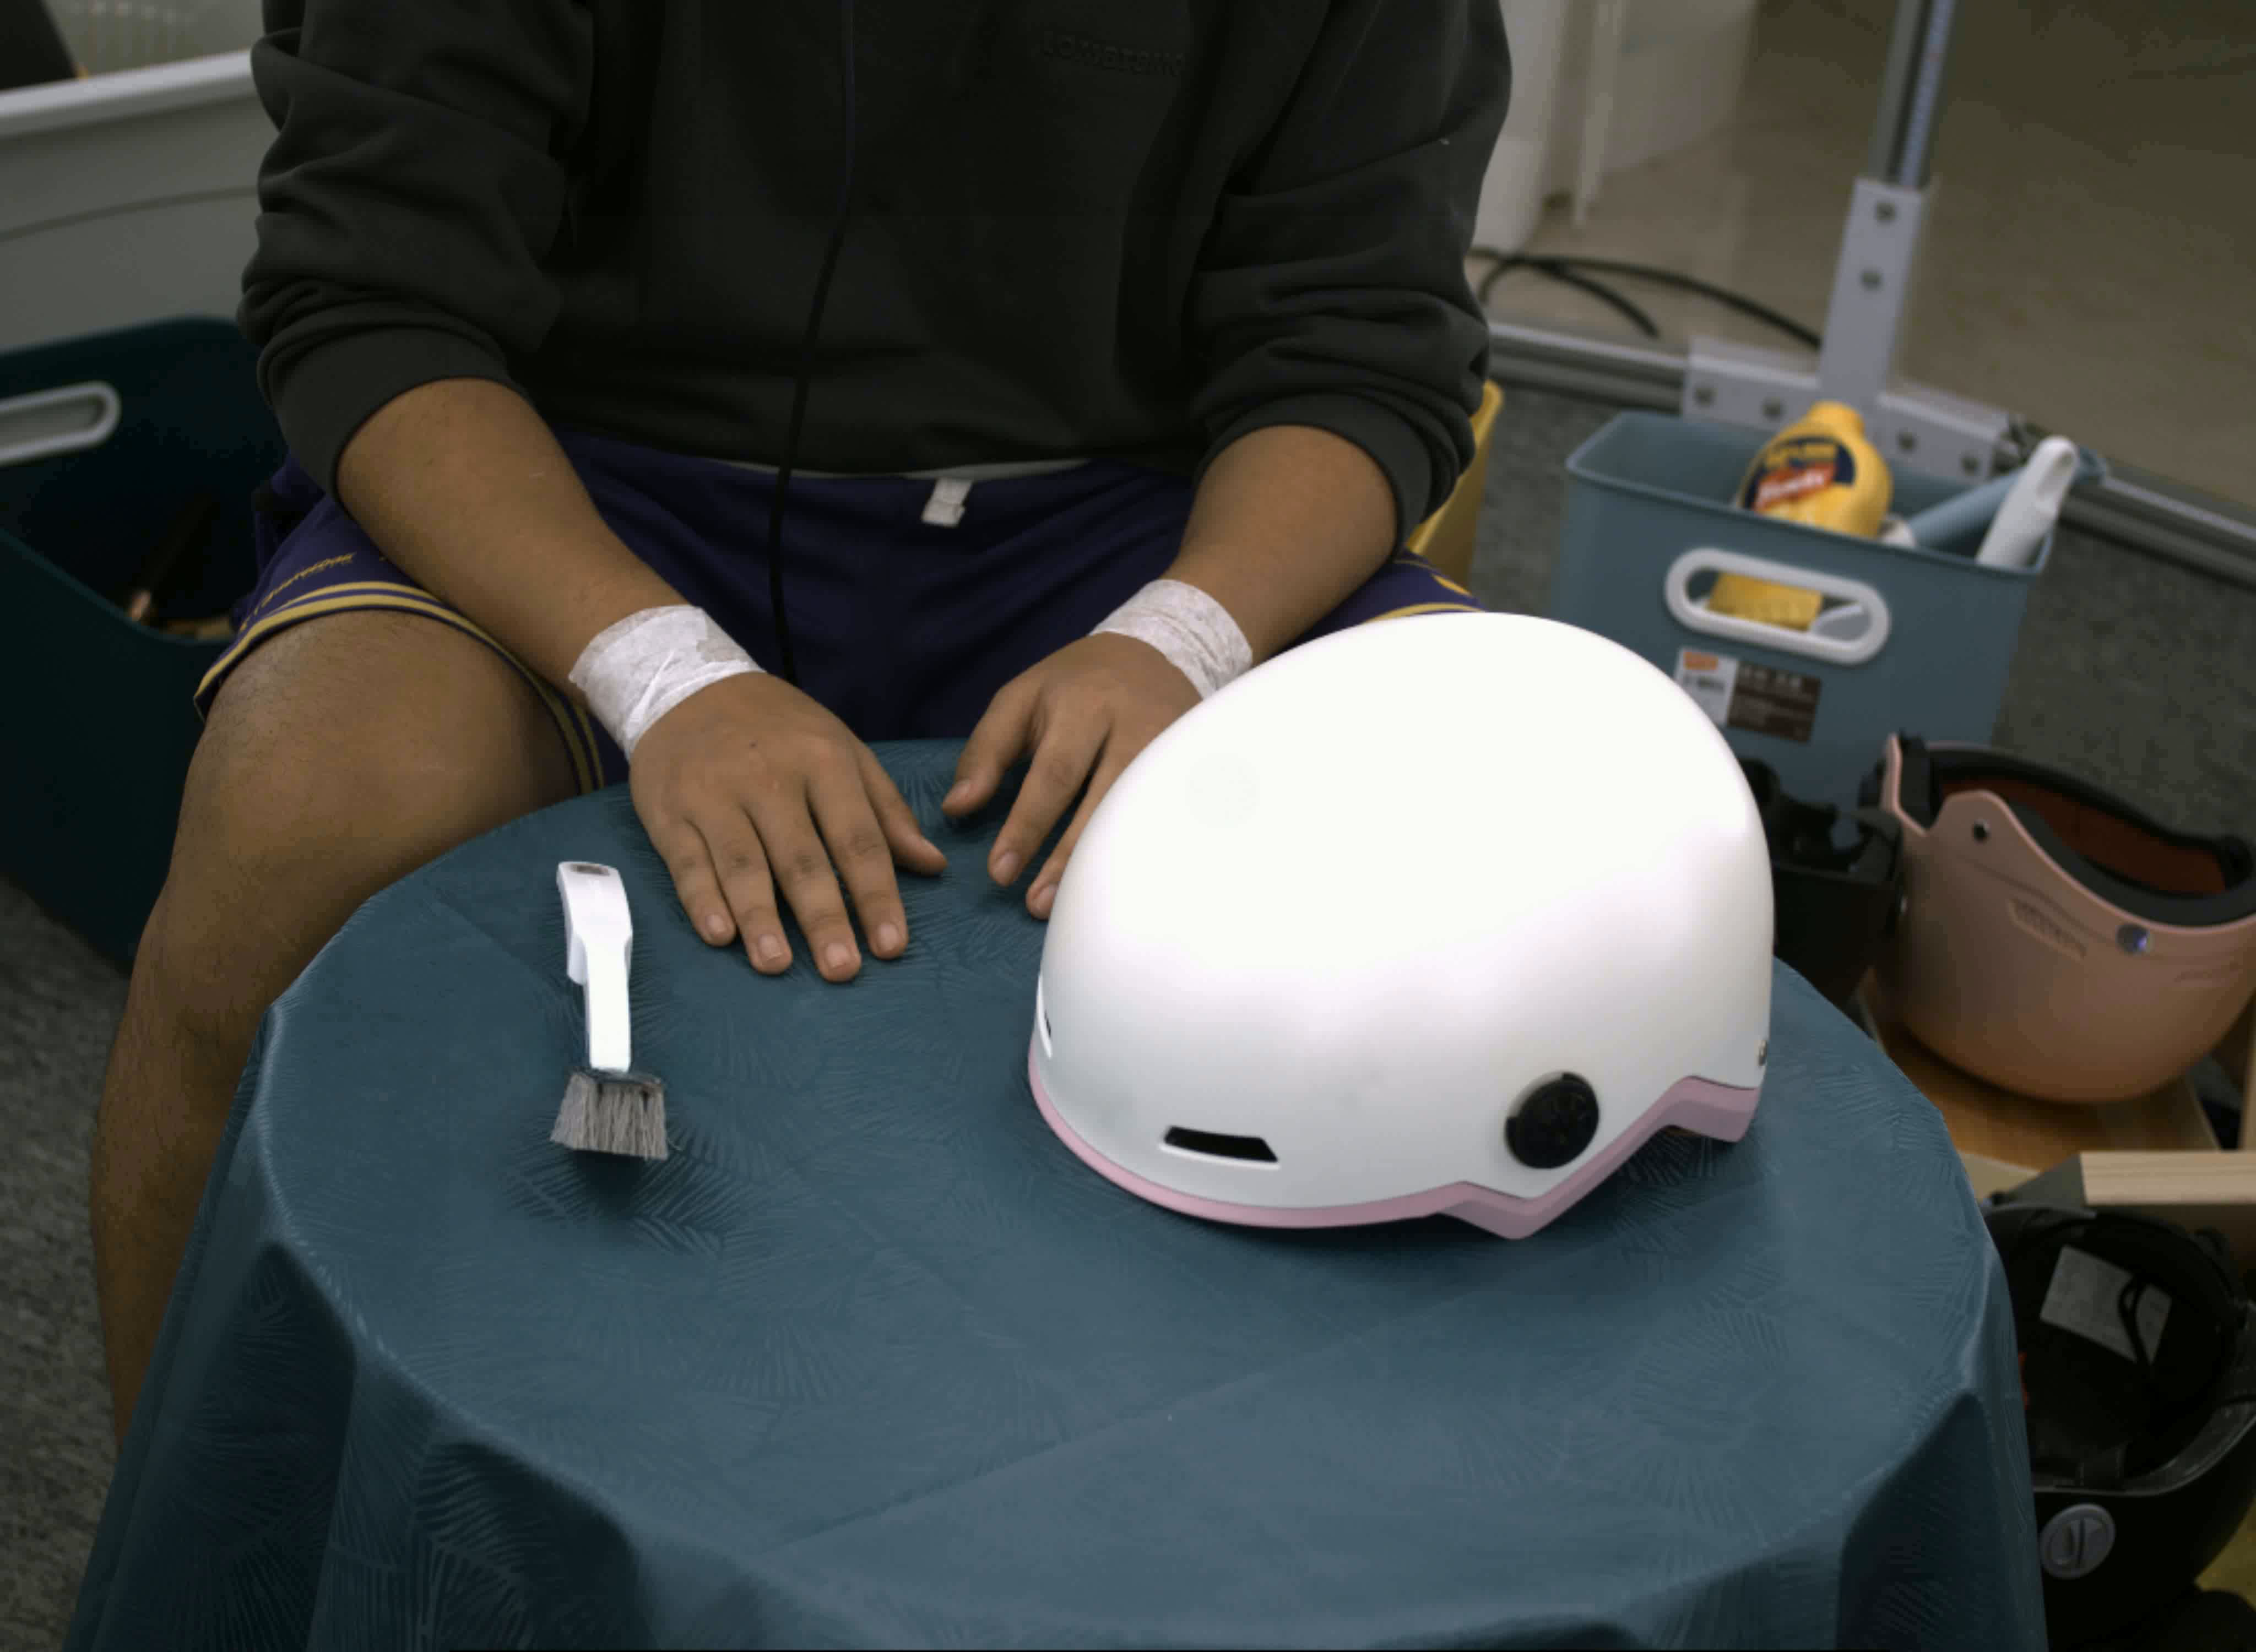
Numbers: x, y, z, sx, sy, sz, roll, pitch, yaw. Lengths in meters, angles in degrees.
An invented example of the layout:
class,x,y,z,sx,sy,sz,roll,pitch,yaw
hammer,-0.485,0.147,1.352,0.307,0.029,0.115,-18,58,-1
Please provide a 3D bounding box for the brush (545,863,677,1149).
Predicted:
class,x,y,z,sx,sy,sz,roll,pitch,yaw
brush,-0.185,0.065,1.848,0.034,0.050,0.245,6,14,-12

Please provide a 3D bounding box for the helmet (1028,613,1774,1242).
class,x,y,z,sx,sy,sz,roll,pitch,yaw
helmet,0.102,0.020,1.849,0.267,0.166,0.239,-12,32,-31
